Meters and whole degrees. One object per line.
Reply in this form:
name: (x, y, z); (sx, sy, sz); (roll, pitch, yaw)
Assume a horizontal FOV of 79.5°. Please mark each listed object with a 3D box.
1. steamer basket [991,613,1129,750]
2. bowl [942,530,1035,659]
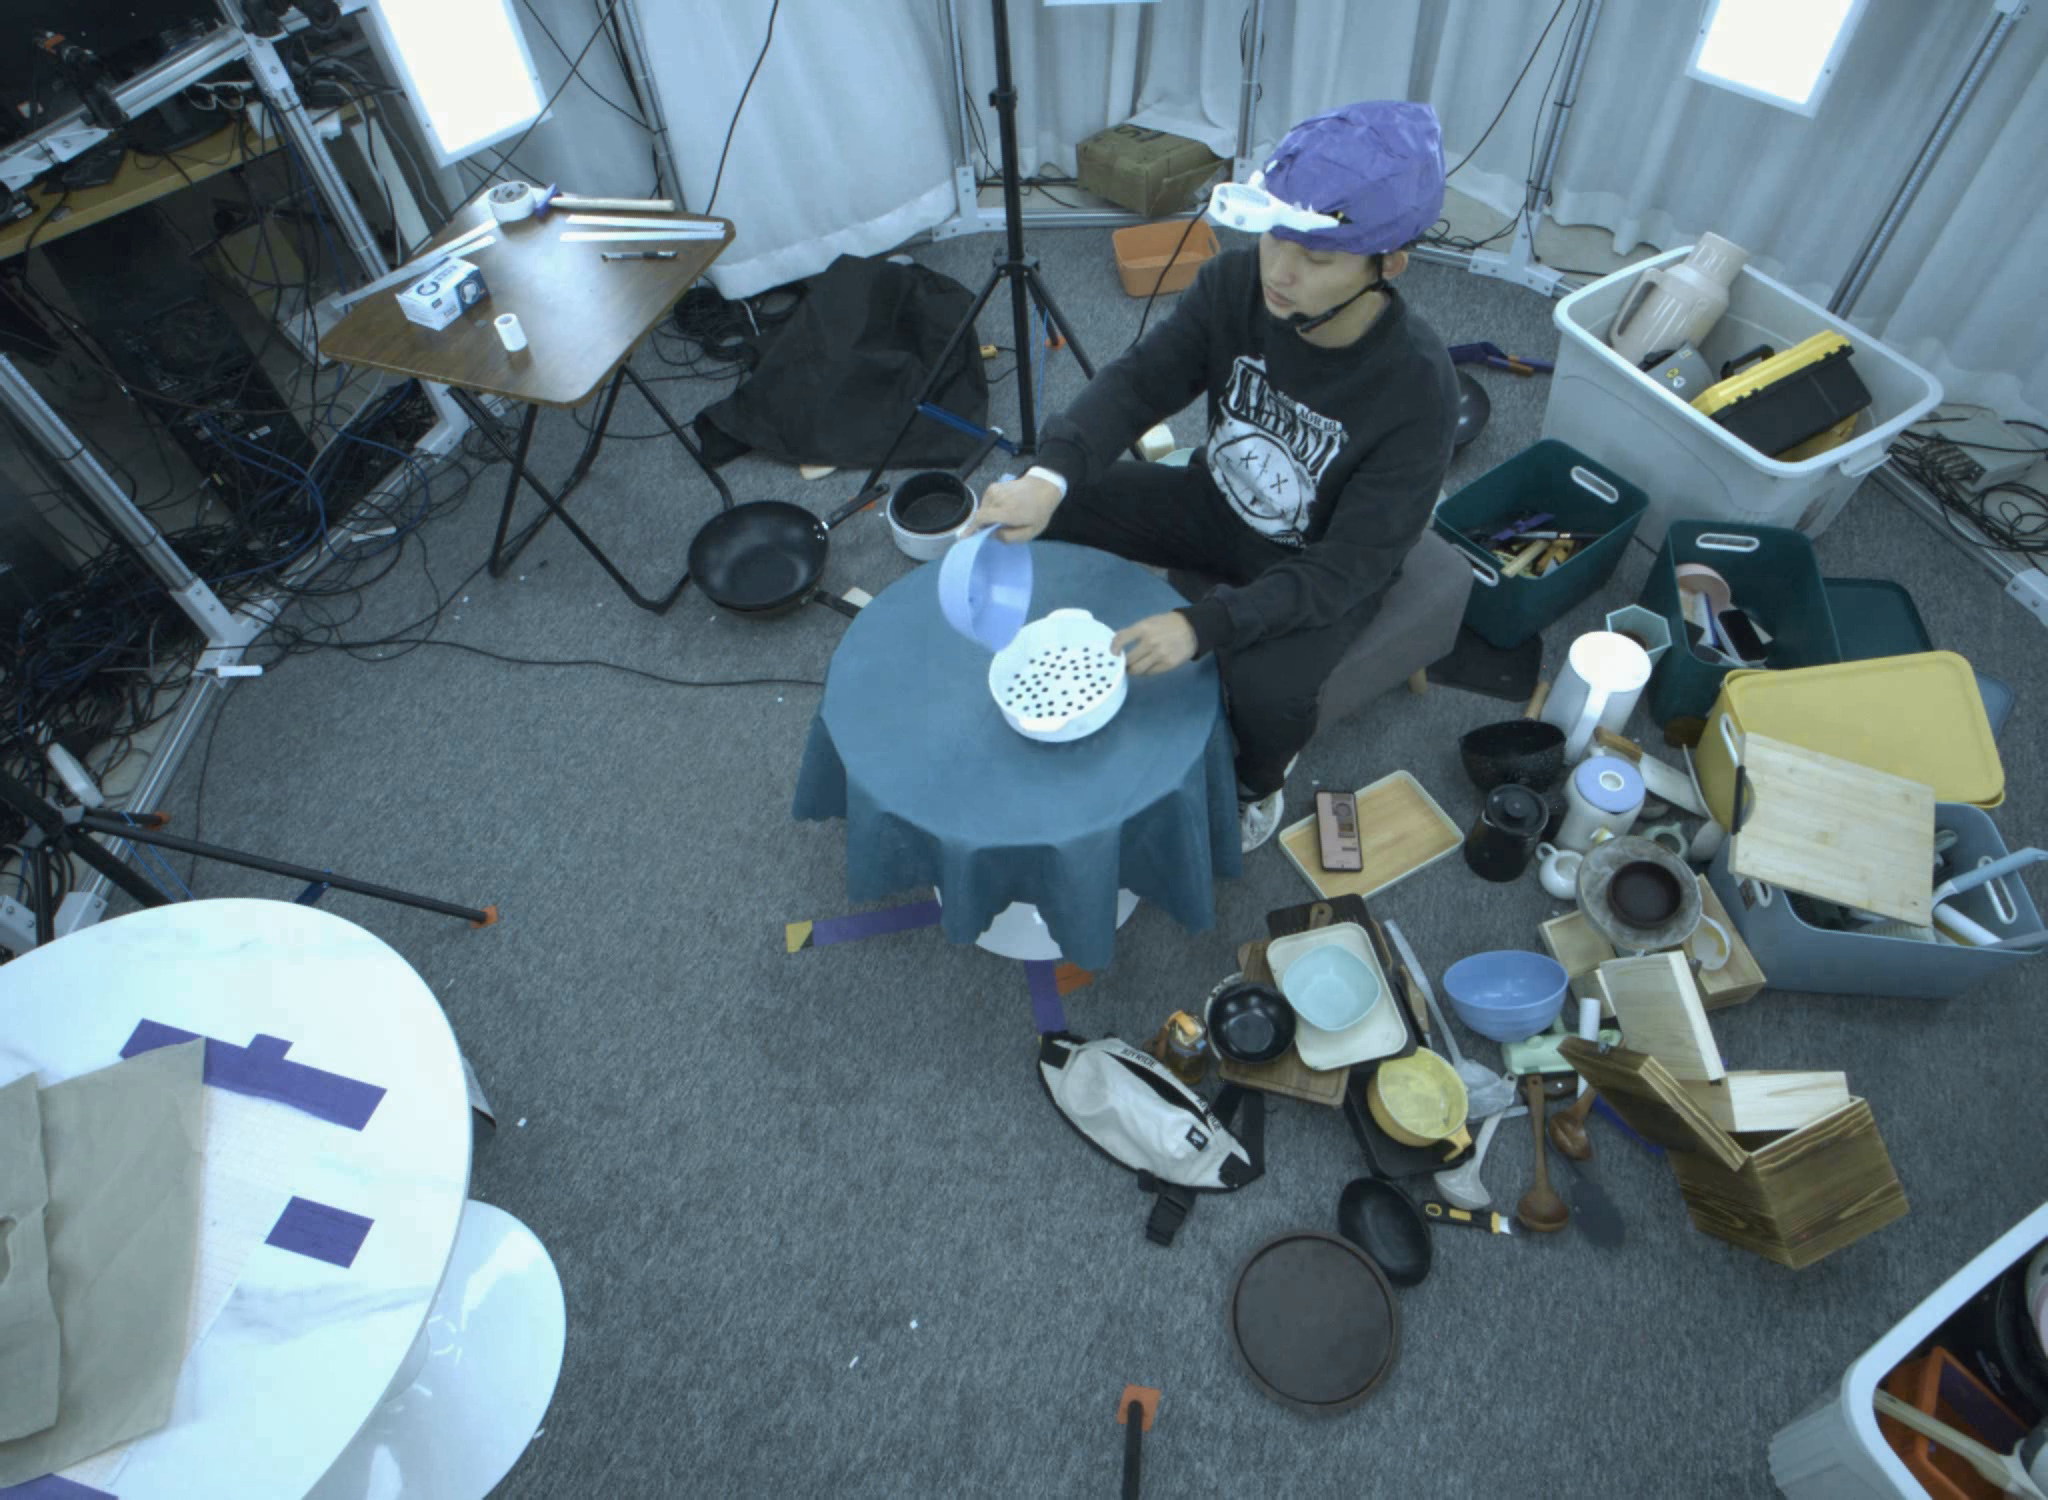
steamer basket: (0.055, -0.095, 1.809); (0.200, 0.070, 0.229); (3, 58, 15)
bowl: (-0.055, -0.216, 1.672); (0.069, 0.179, 0.176); (13, 56, 27)
